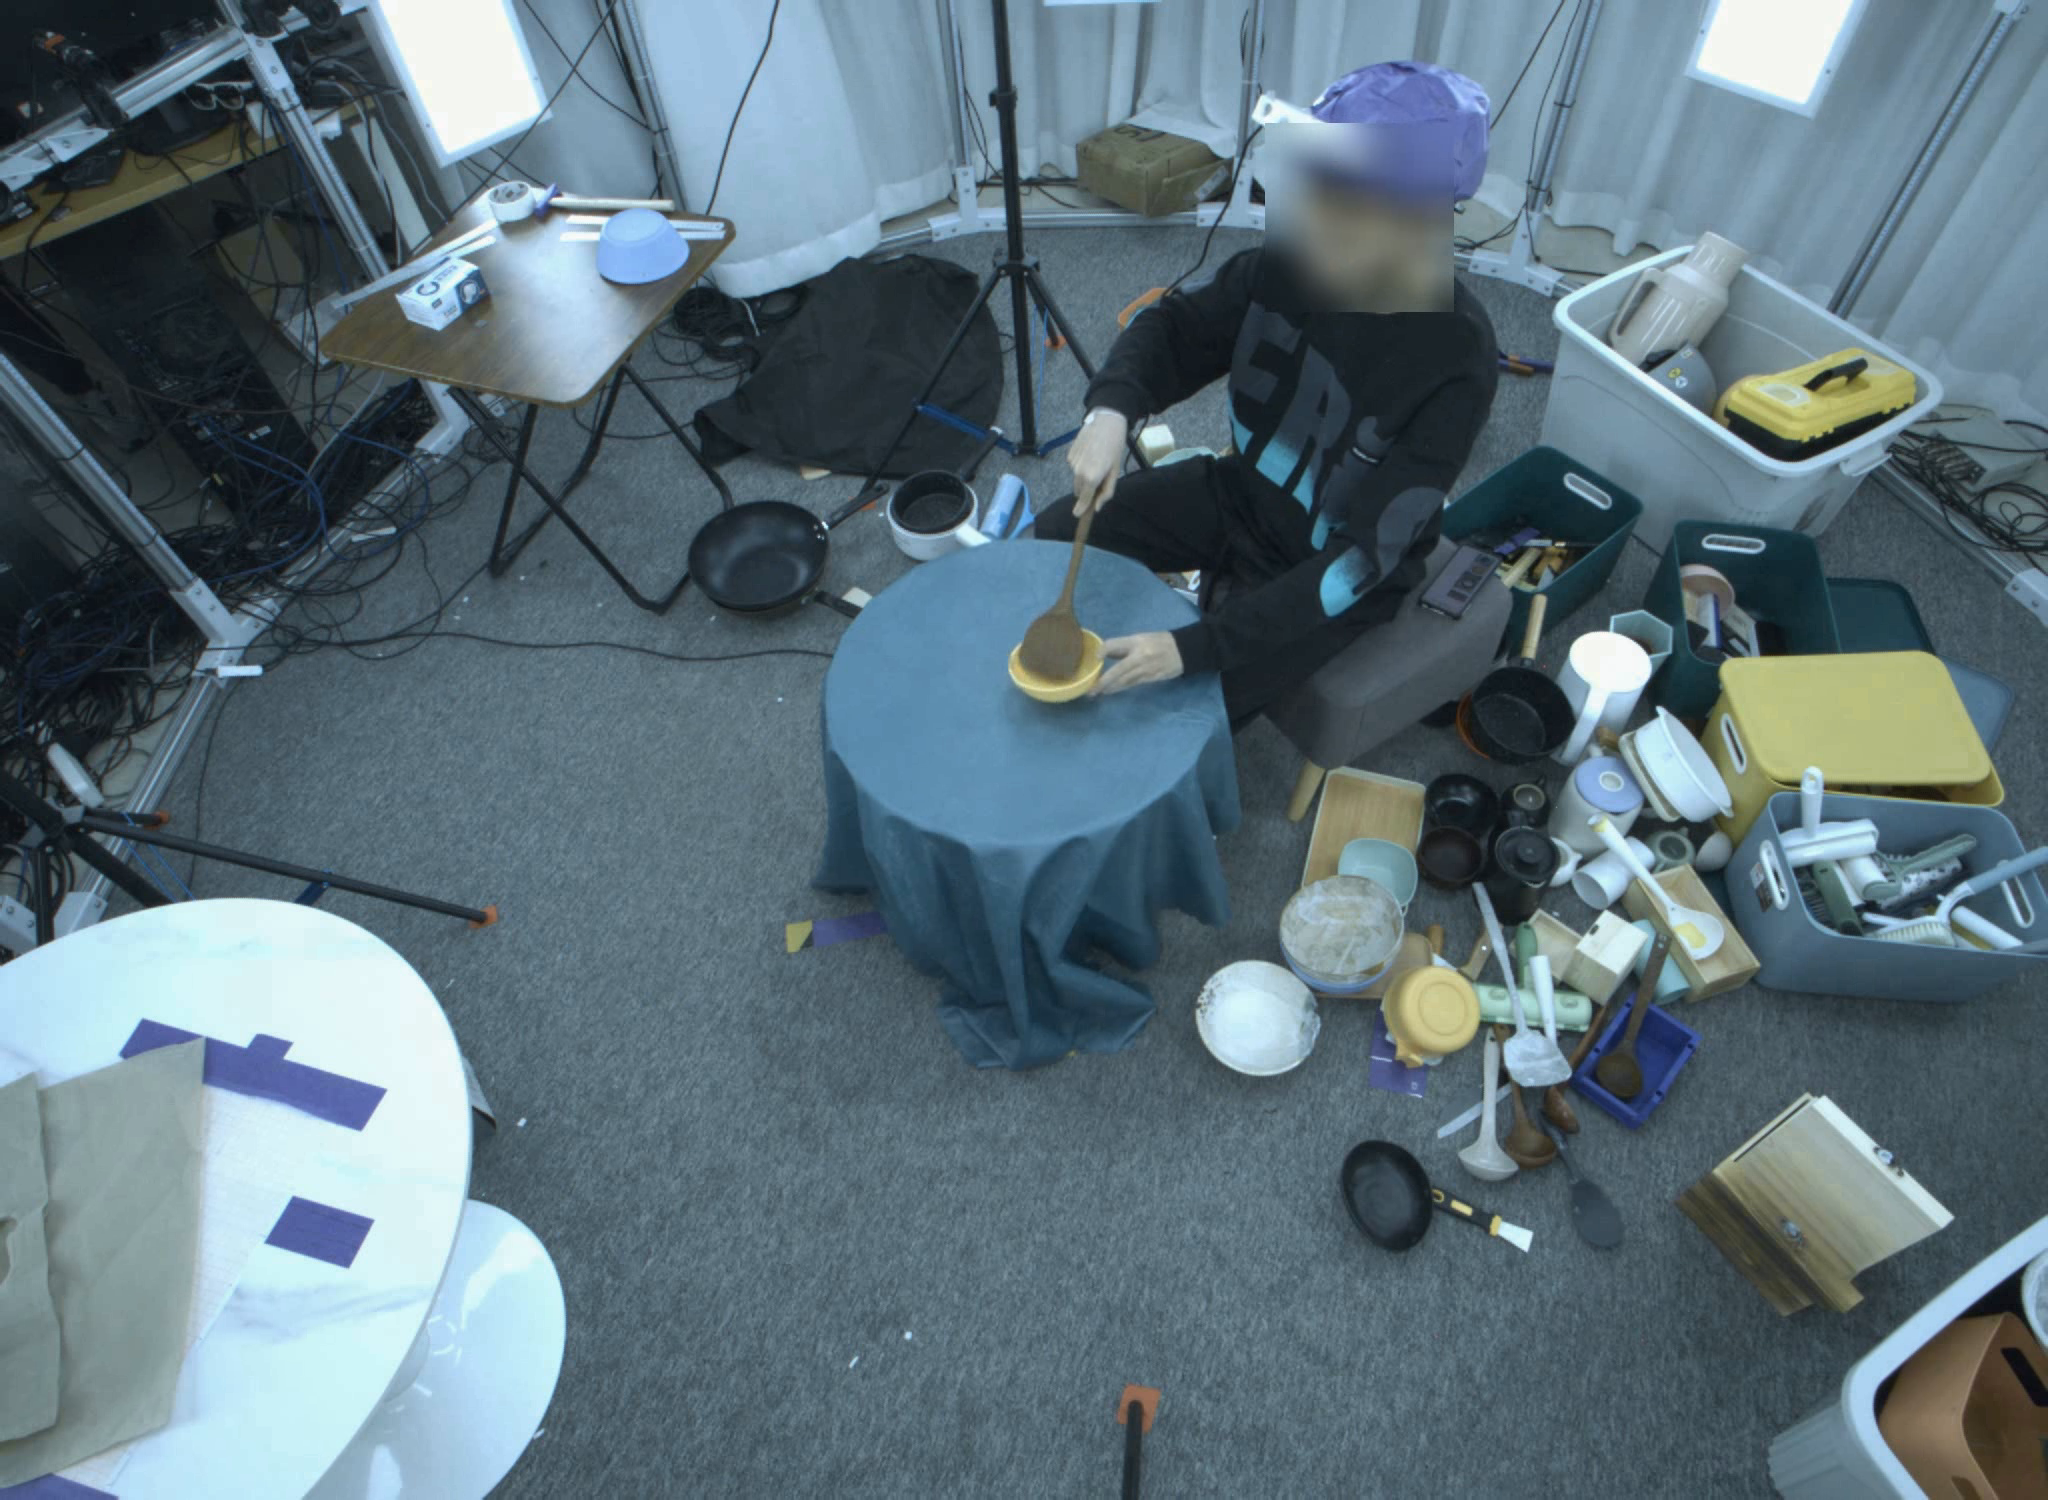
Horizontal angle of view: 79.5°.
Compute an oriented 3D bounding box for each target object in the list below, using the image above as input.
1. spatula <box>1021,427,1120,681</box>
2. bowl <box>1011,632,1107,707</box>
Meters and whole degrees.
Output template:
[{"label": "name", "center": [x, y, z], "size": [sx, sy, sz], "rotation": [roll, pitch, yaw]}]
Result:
[{"label": "spatula", "center": [0.082, -0.292, 1.813], "size": [0.095, 0.016, 0.386], "rotation": [16, 98, 15]}, {"label": "bowl", "center": [0.056, -0.109, 1.831], "size": [0.145, 0.061, 0.144], "rotation": [-5, 45, 6]}]
